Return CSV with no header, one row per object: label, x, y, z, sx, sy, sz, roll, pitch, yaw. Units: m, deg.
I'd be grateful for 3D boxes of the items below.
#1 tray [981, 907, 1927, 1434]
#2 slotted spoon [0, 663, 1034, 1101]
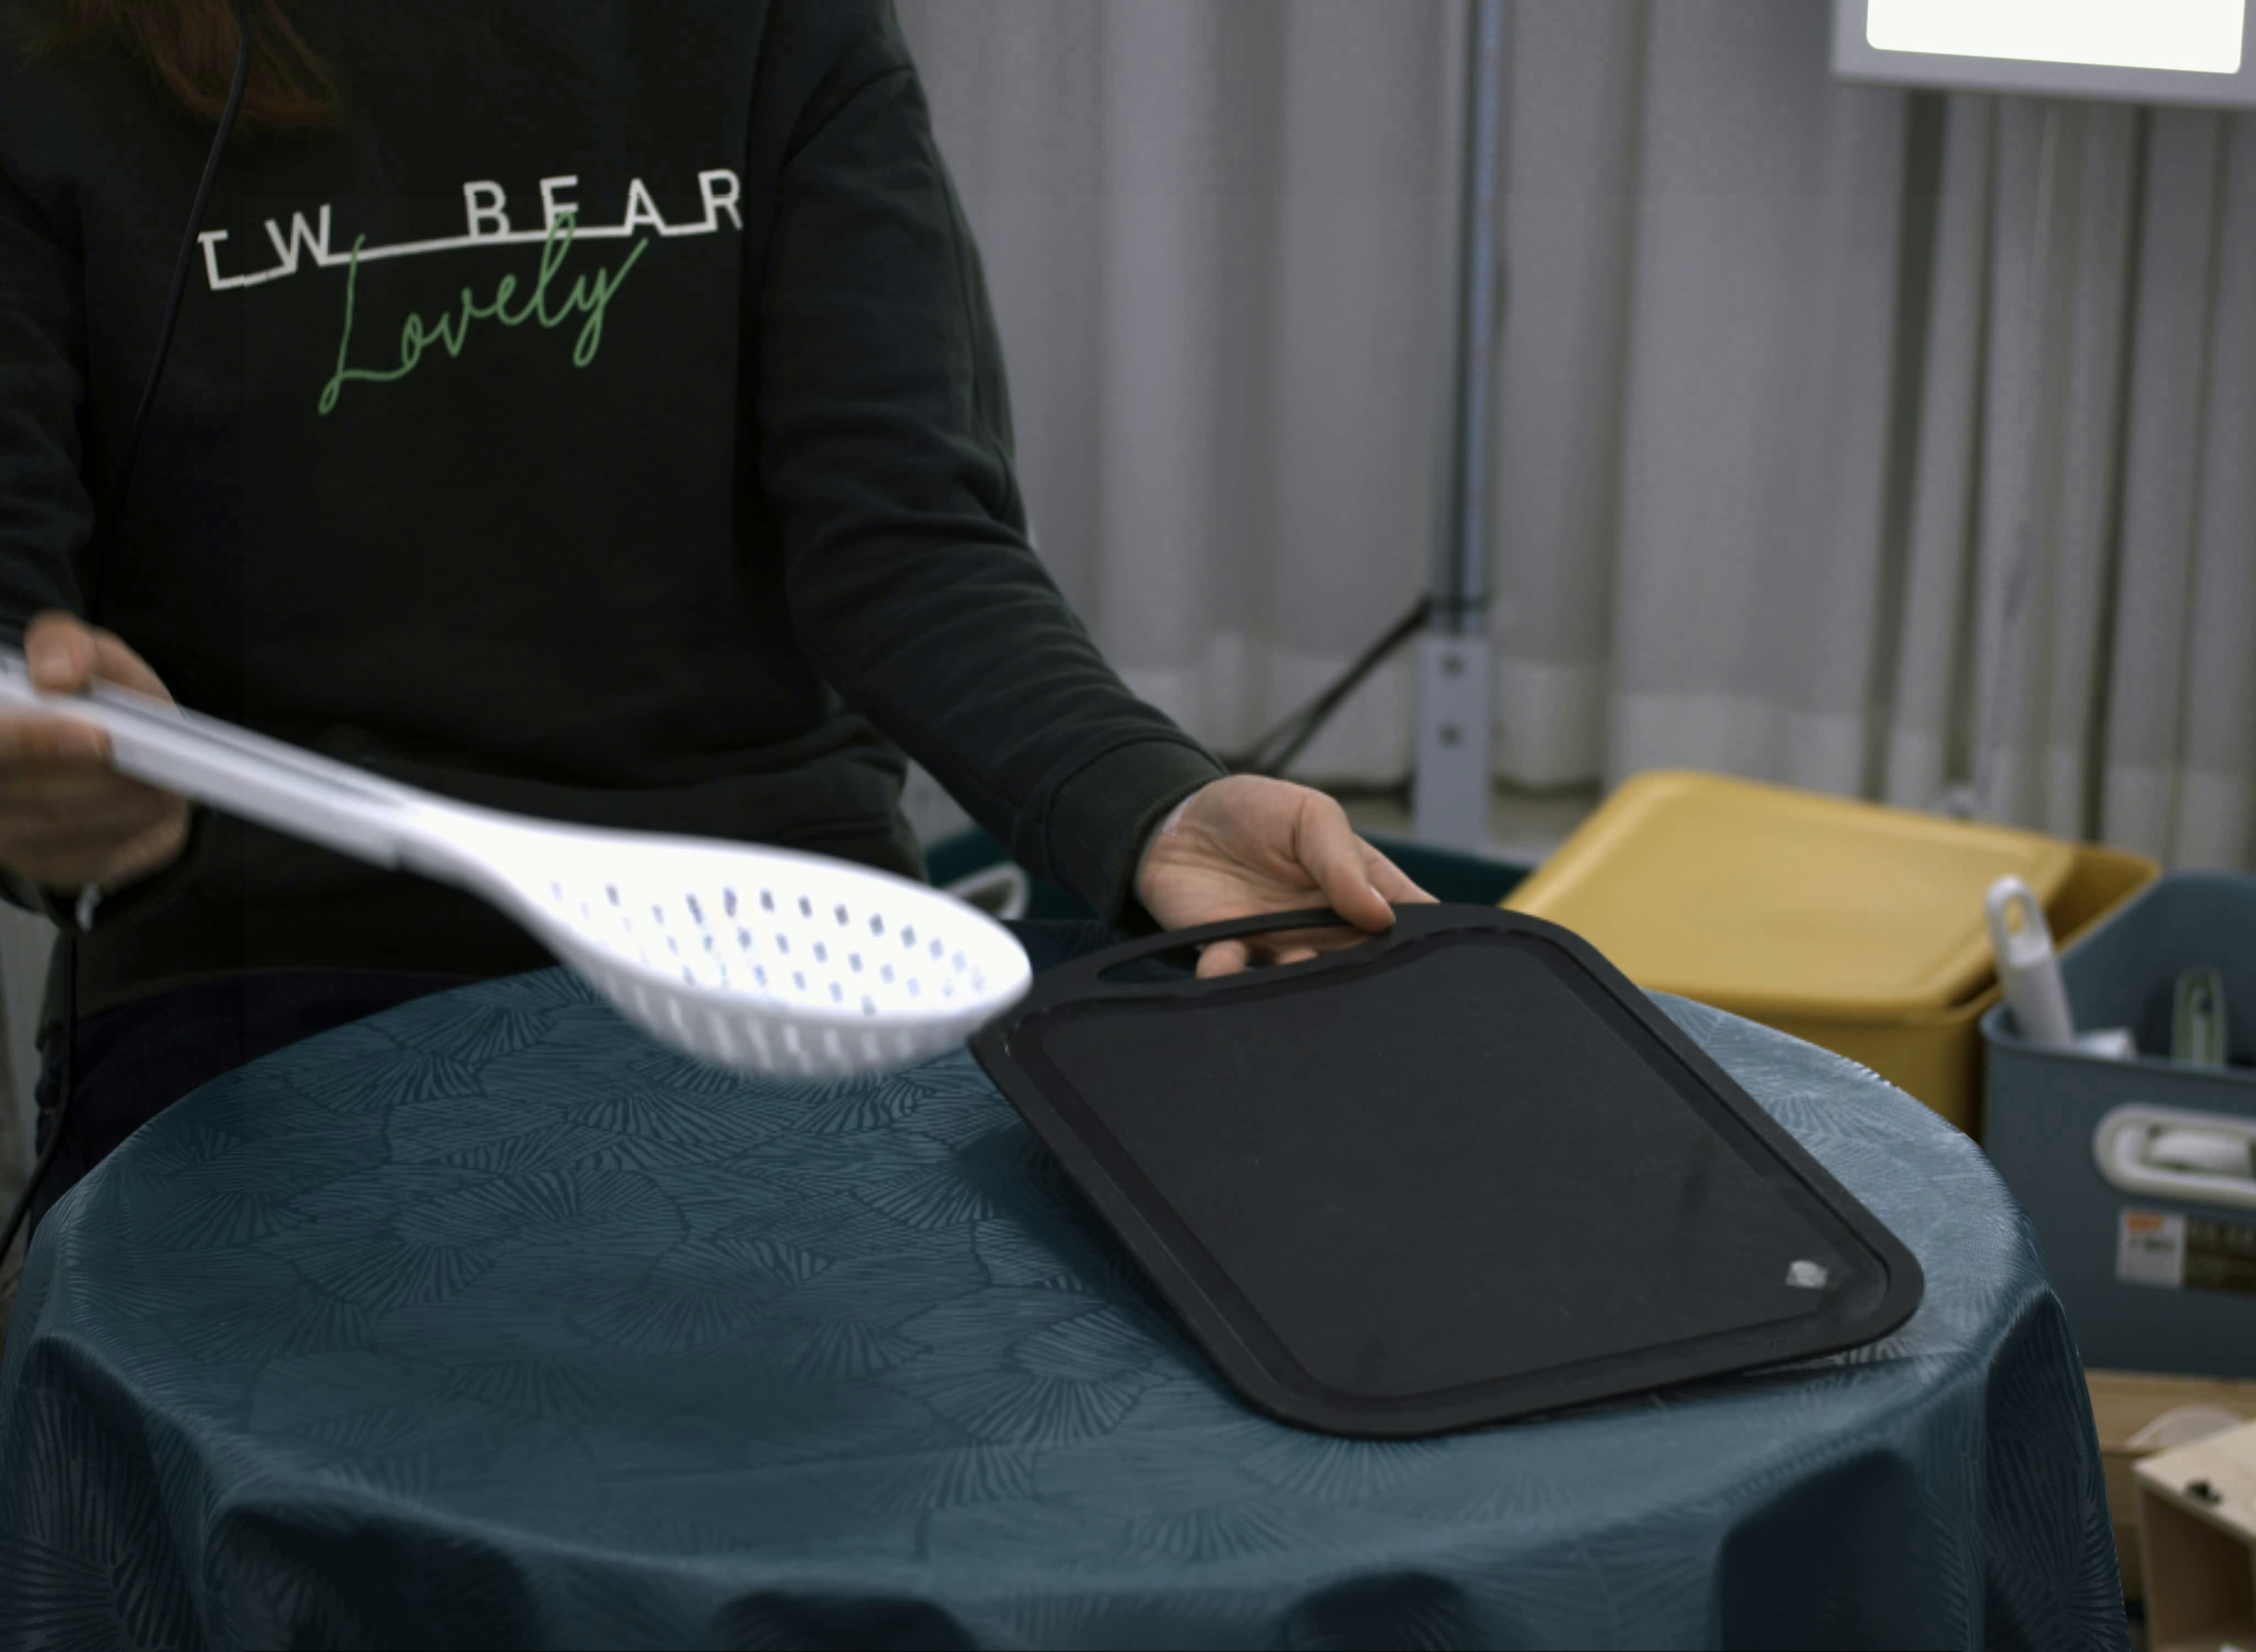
tray,0.087,0.093,1.588,0.211,0.010,0.321,-9,26,-19
slotted spoon,-0.189,0.009,1.485,0.346,0.046,0.136,23,18,19
